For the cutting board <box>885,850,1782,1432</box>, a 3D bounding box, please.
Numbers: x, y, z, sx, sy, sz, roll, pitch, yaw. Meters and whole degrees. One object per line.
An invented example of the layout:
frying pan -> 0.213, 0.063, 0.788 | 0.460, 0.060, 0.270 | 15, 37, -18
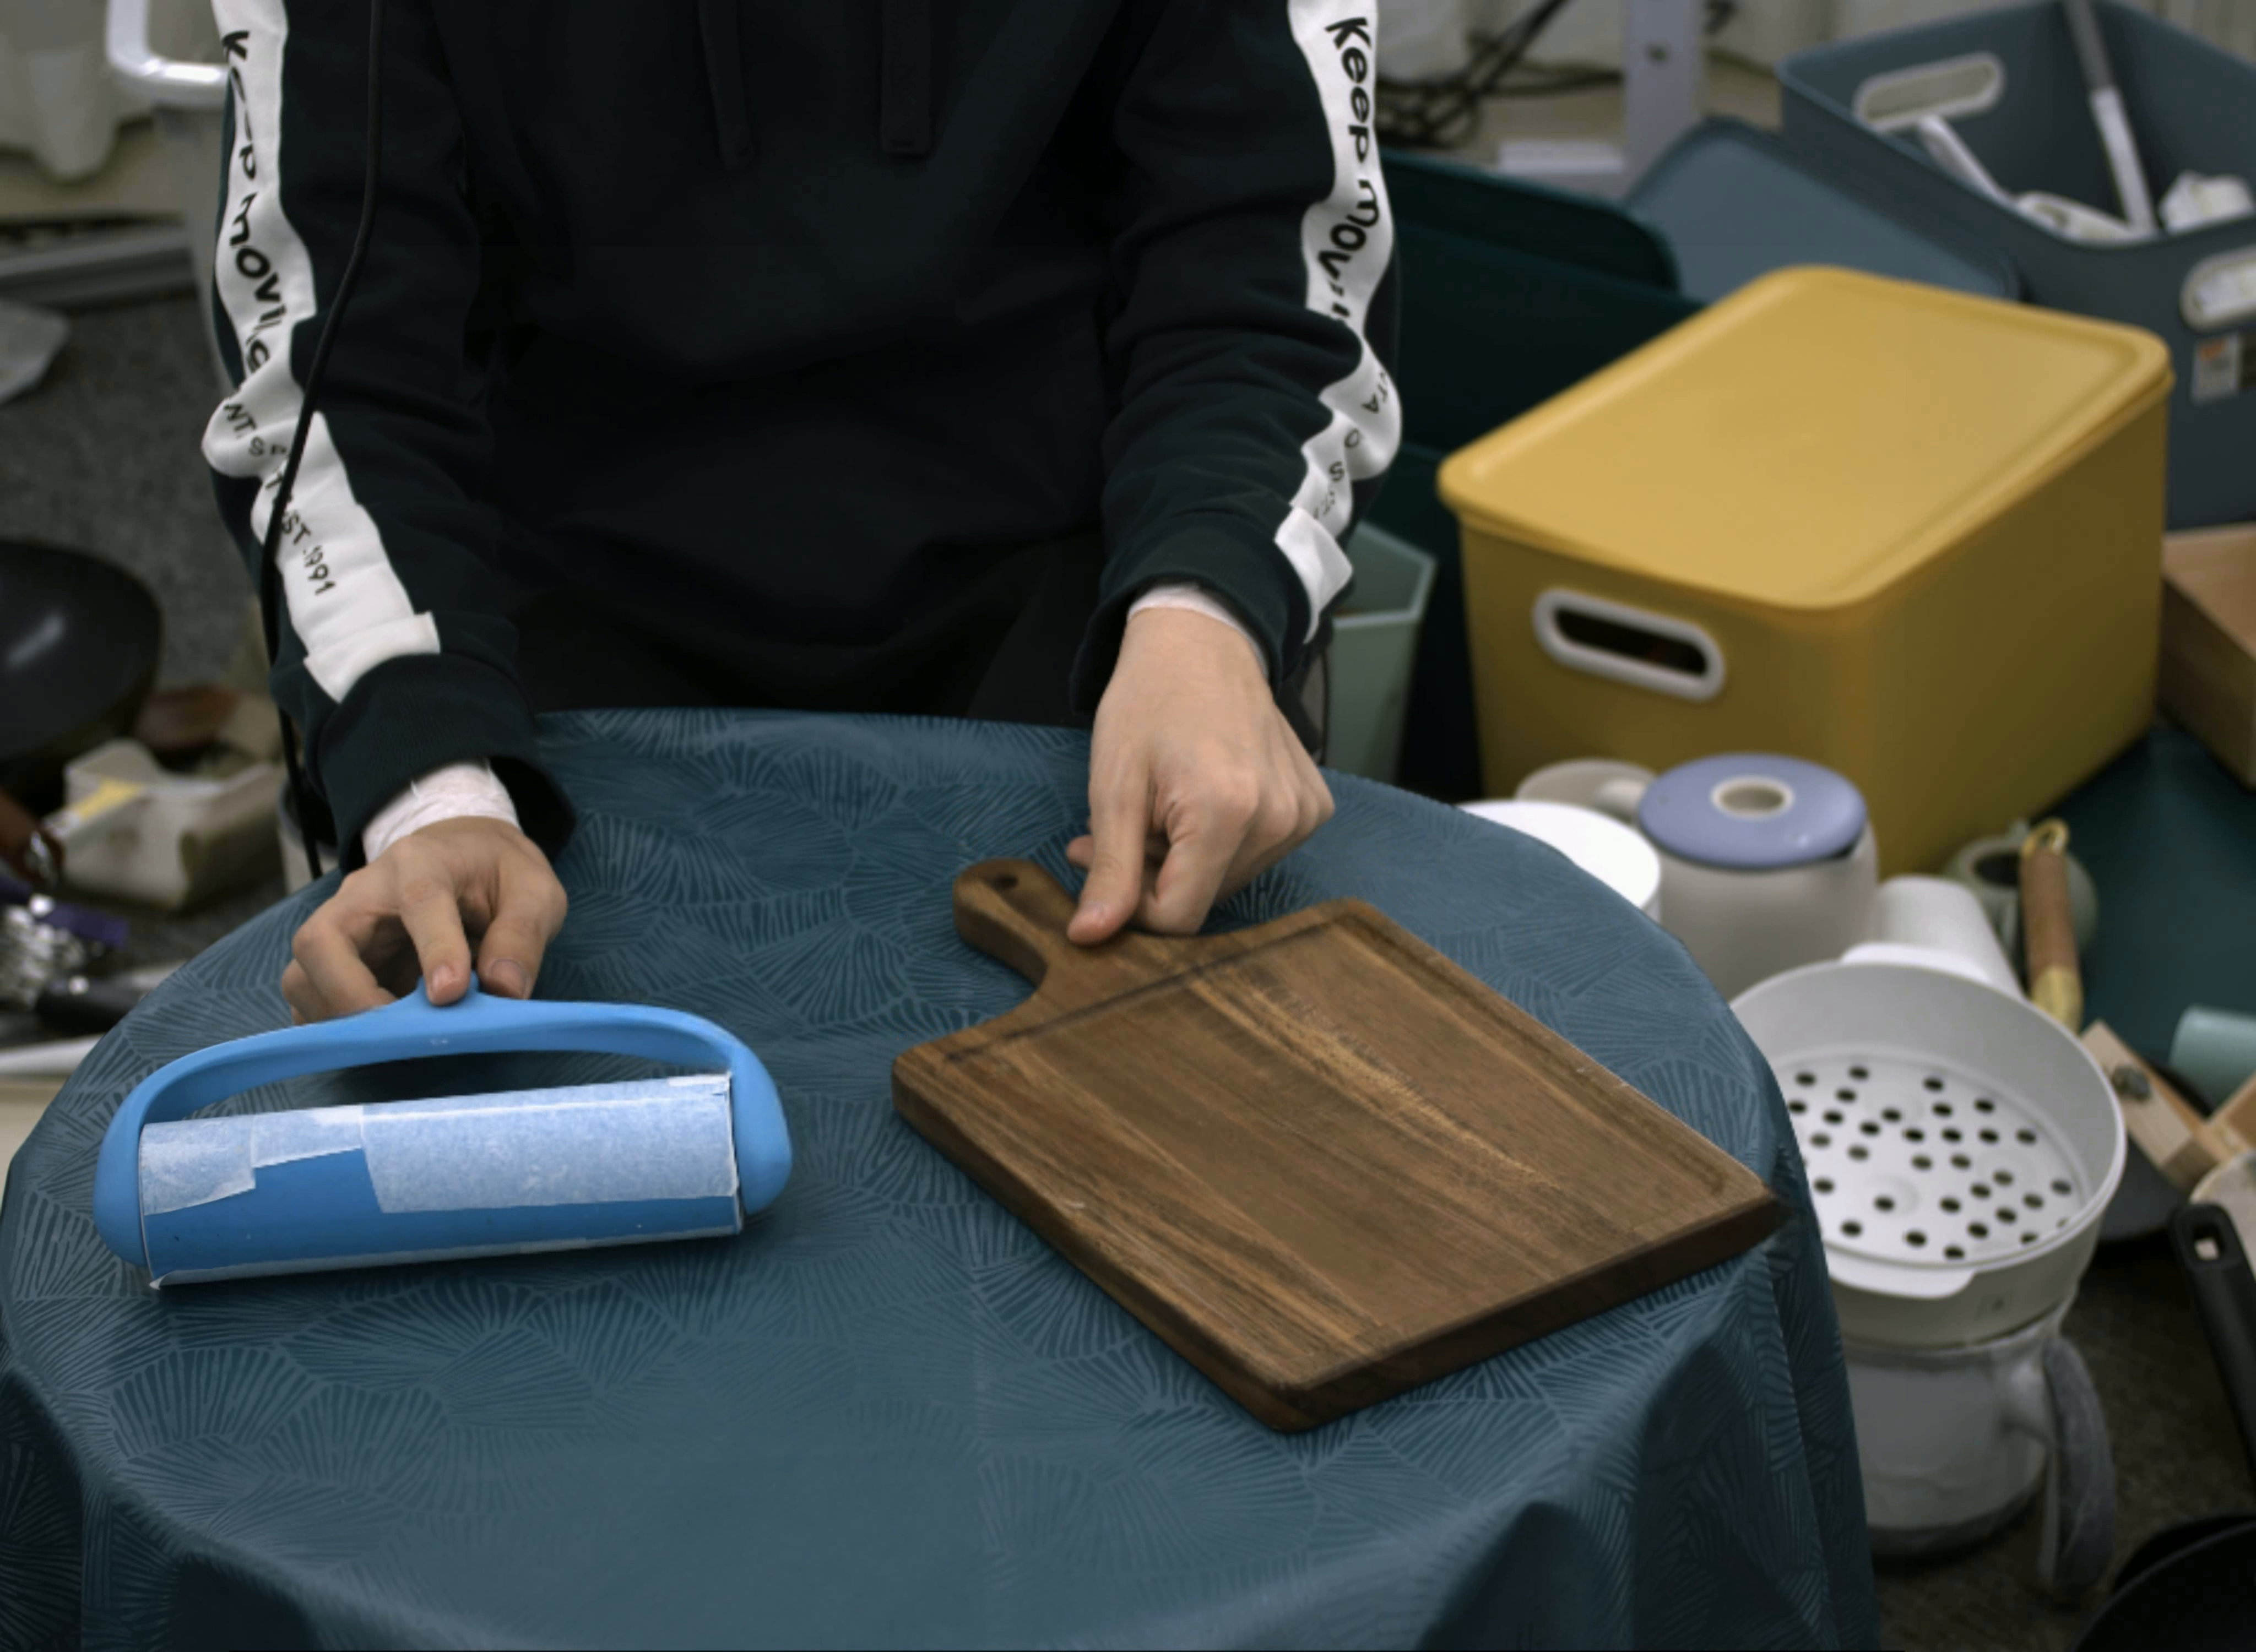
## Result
cutting board -> 0.038, 0.086, 1.896 | 0.202, 0.023, 0.353 | -18, 32, -28

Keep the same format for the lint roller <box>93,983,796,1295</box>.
lint roller -> -0.230, 0.088, 1.886 | 0.228, 0.067, 0.182 | -7, 28, -5
